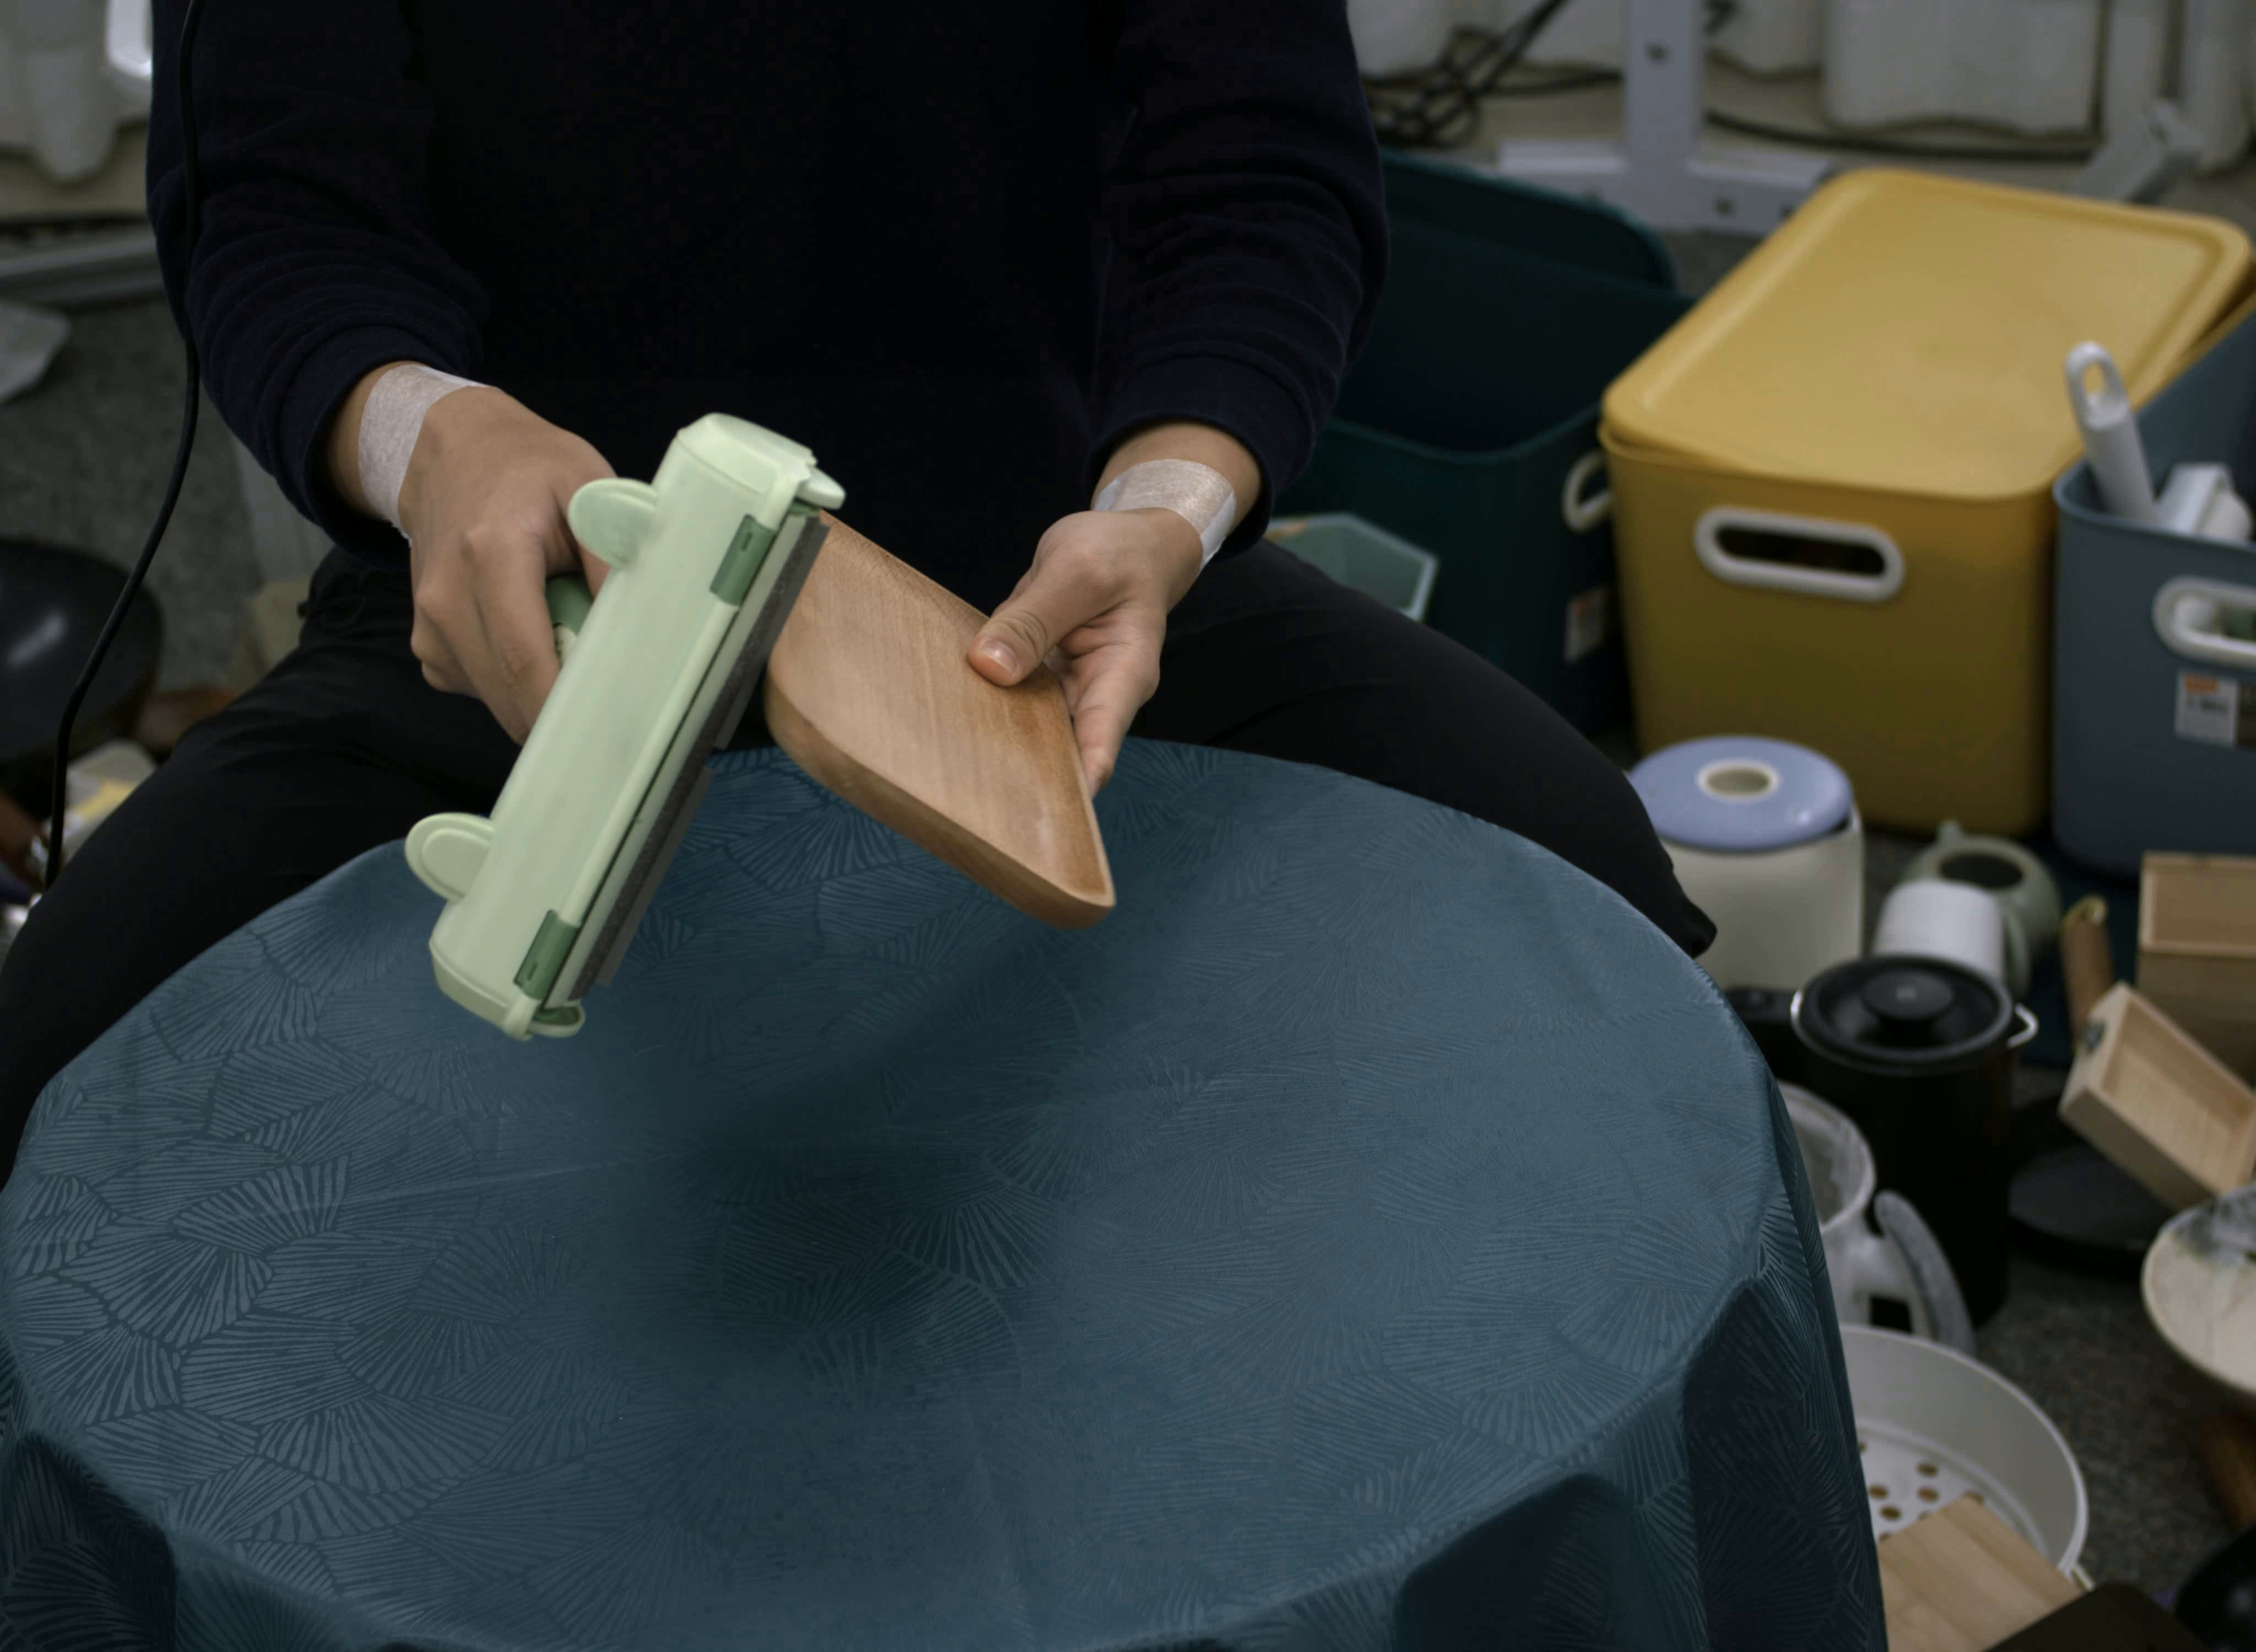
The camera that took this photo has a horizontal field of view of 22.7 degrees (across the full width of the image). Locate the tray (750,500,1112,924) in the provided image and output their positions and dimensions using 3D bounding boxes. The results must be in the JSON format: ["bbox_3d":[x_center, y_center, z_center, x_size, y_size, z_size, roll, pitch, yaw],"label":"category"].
[{"bbox_3d":[-0.069,-0.042,1.809,0.130,0.023,0.253,35,13,-16],"label":"tray"}]

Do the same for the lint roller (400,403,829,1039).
[{"bbox_3d":[-0.186,-0.056,1.752,0.082,0.198,0.184,20,12,-39],"label":"lint roller"}]
